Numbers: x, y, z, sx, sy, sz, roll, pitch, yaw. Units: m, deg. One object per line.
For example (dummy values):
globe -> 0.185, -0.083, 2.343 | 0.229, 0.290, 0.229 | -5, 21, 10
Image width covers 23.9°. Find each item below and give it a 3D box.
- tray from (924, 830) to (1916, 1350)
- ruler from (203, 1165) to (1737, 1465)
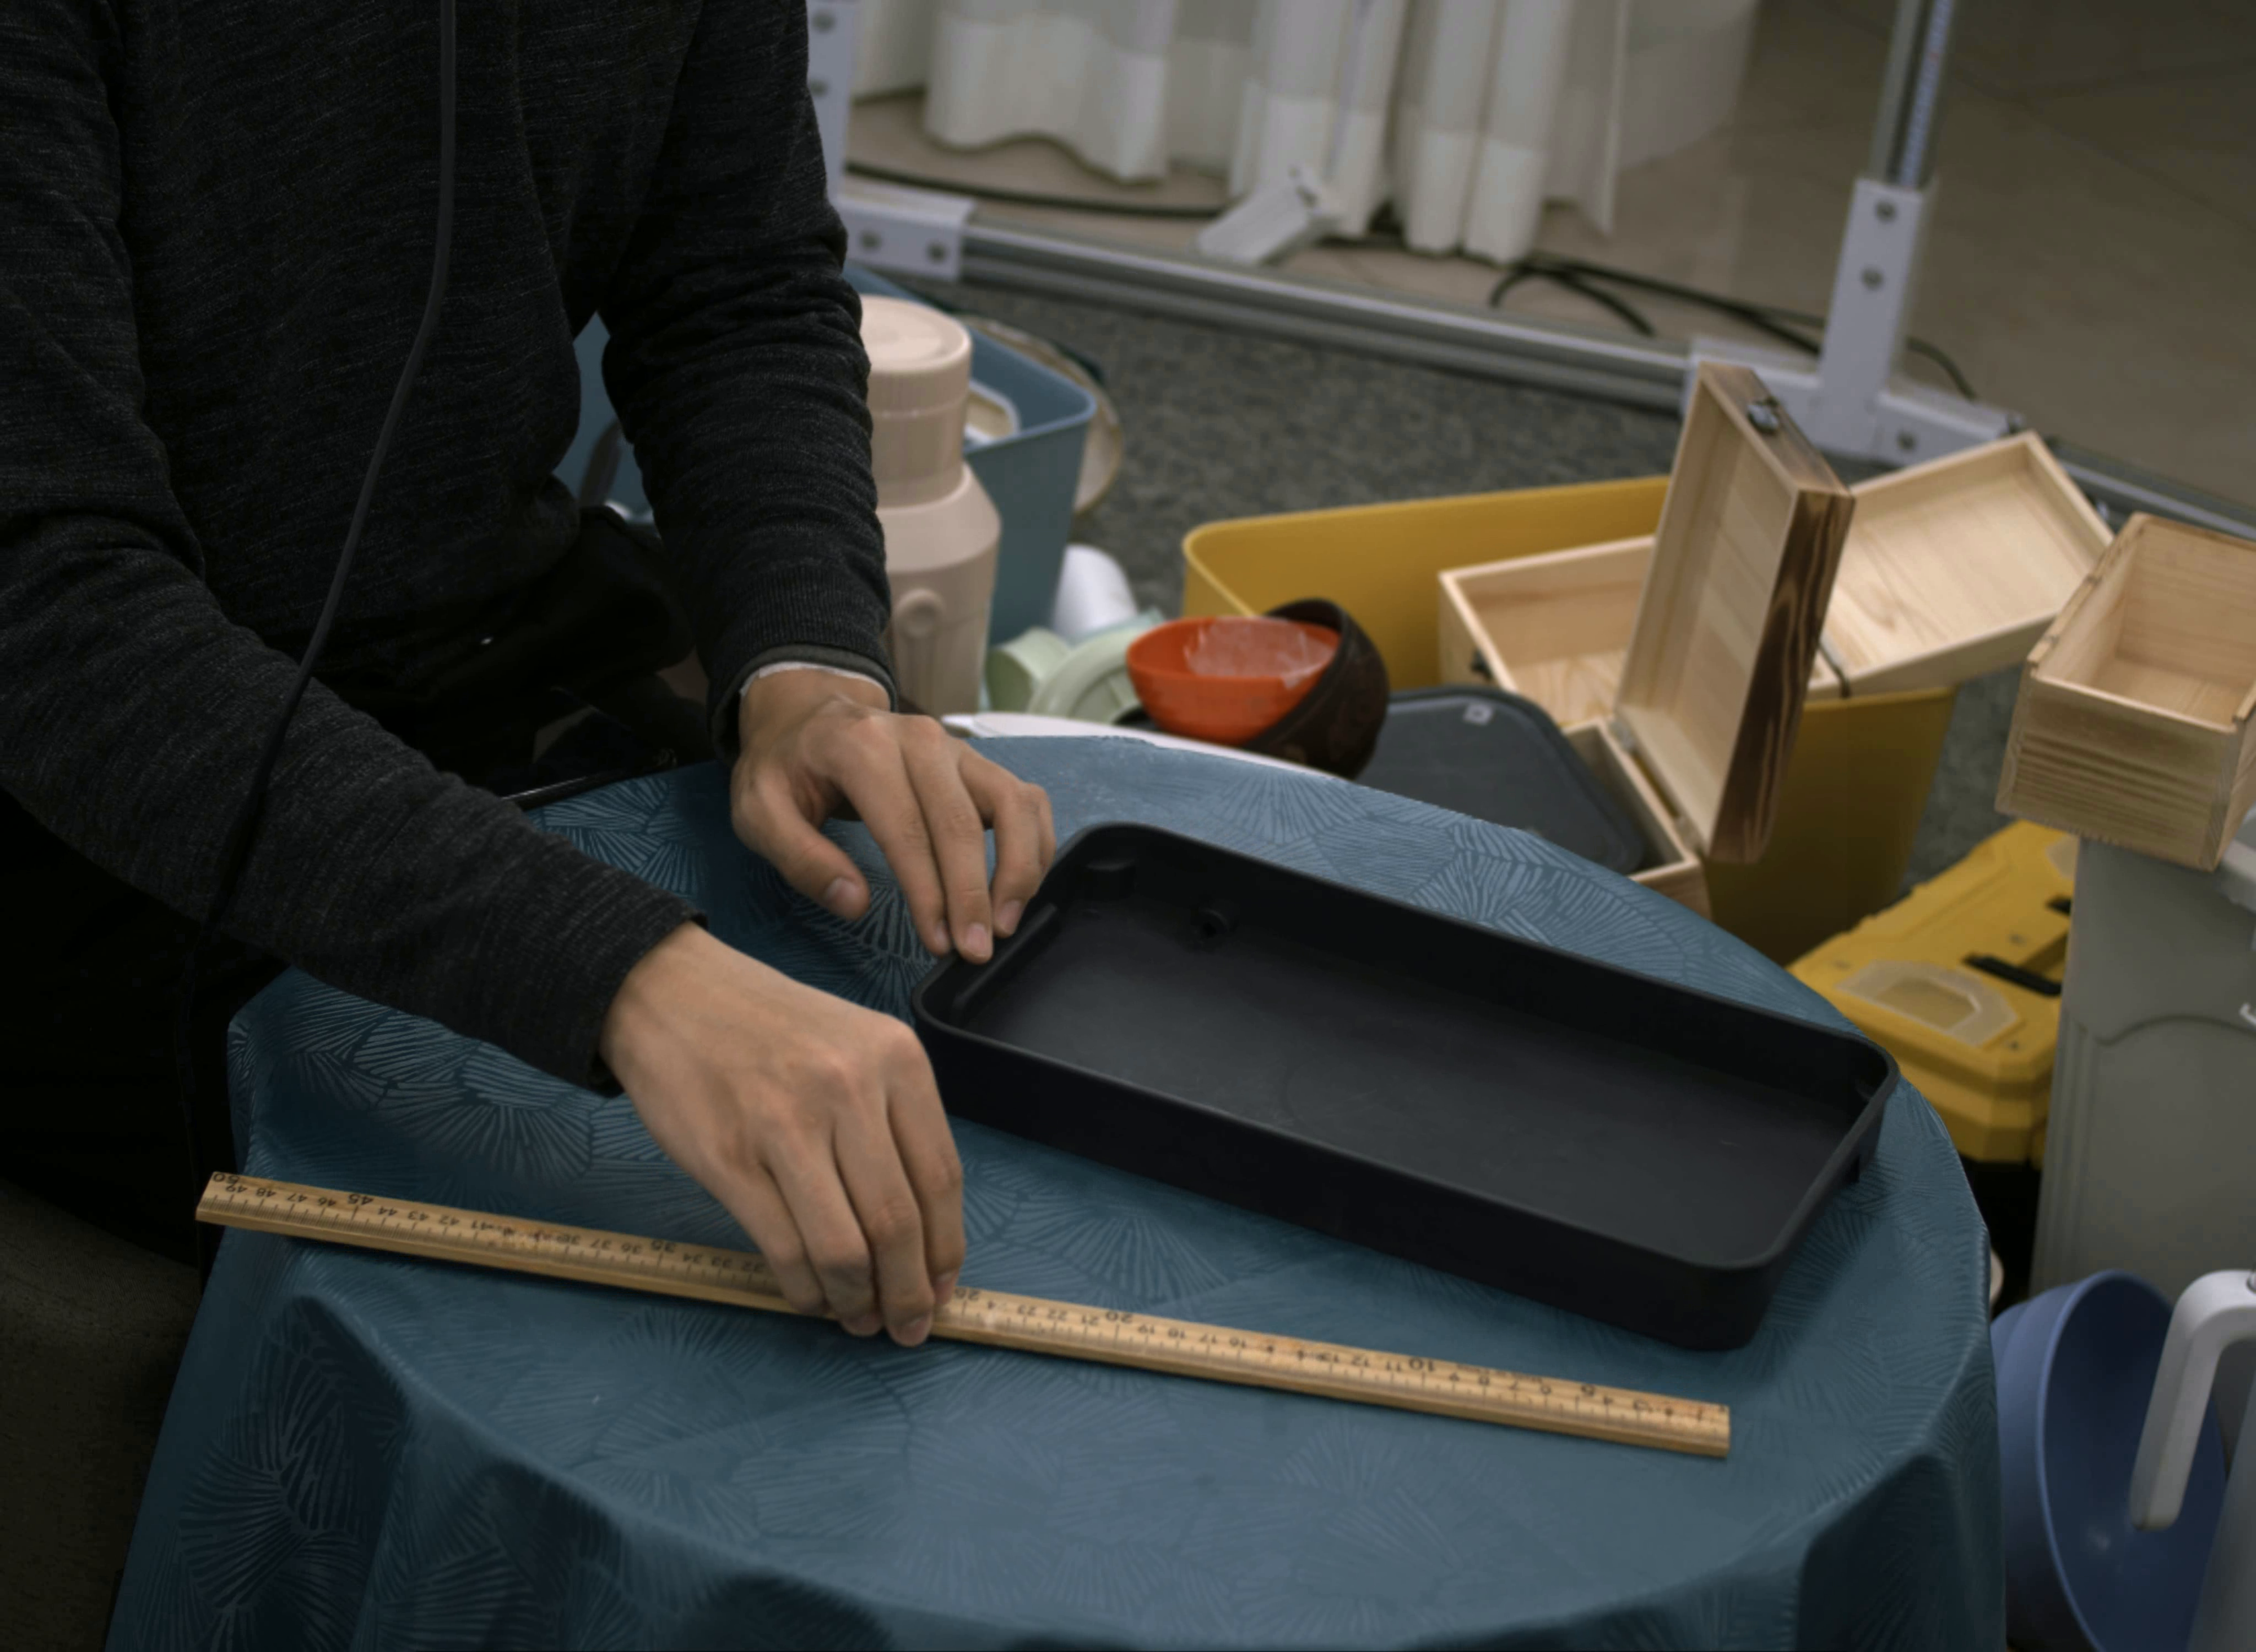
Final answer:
tray -> 0.101, 0.088, 1.856 | 0.319, 0.037, 0.184 | 15, 28, 18
ruler -> -0.052, 0.156, 1.713 | 0.499, 0.006, 0.027 | 9, 33, 3
